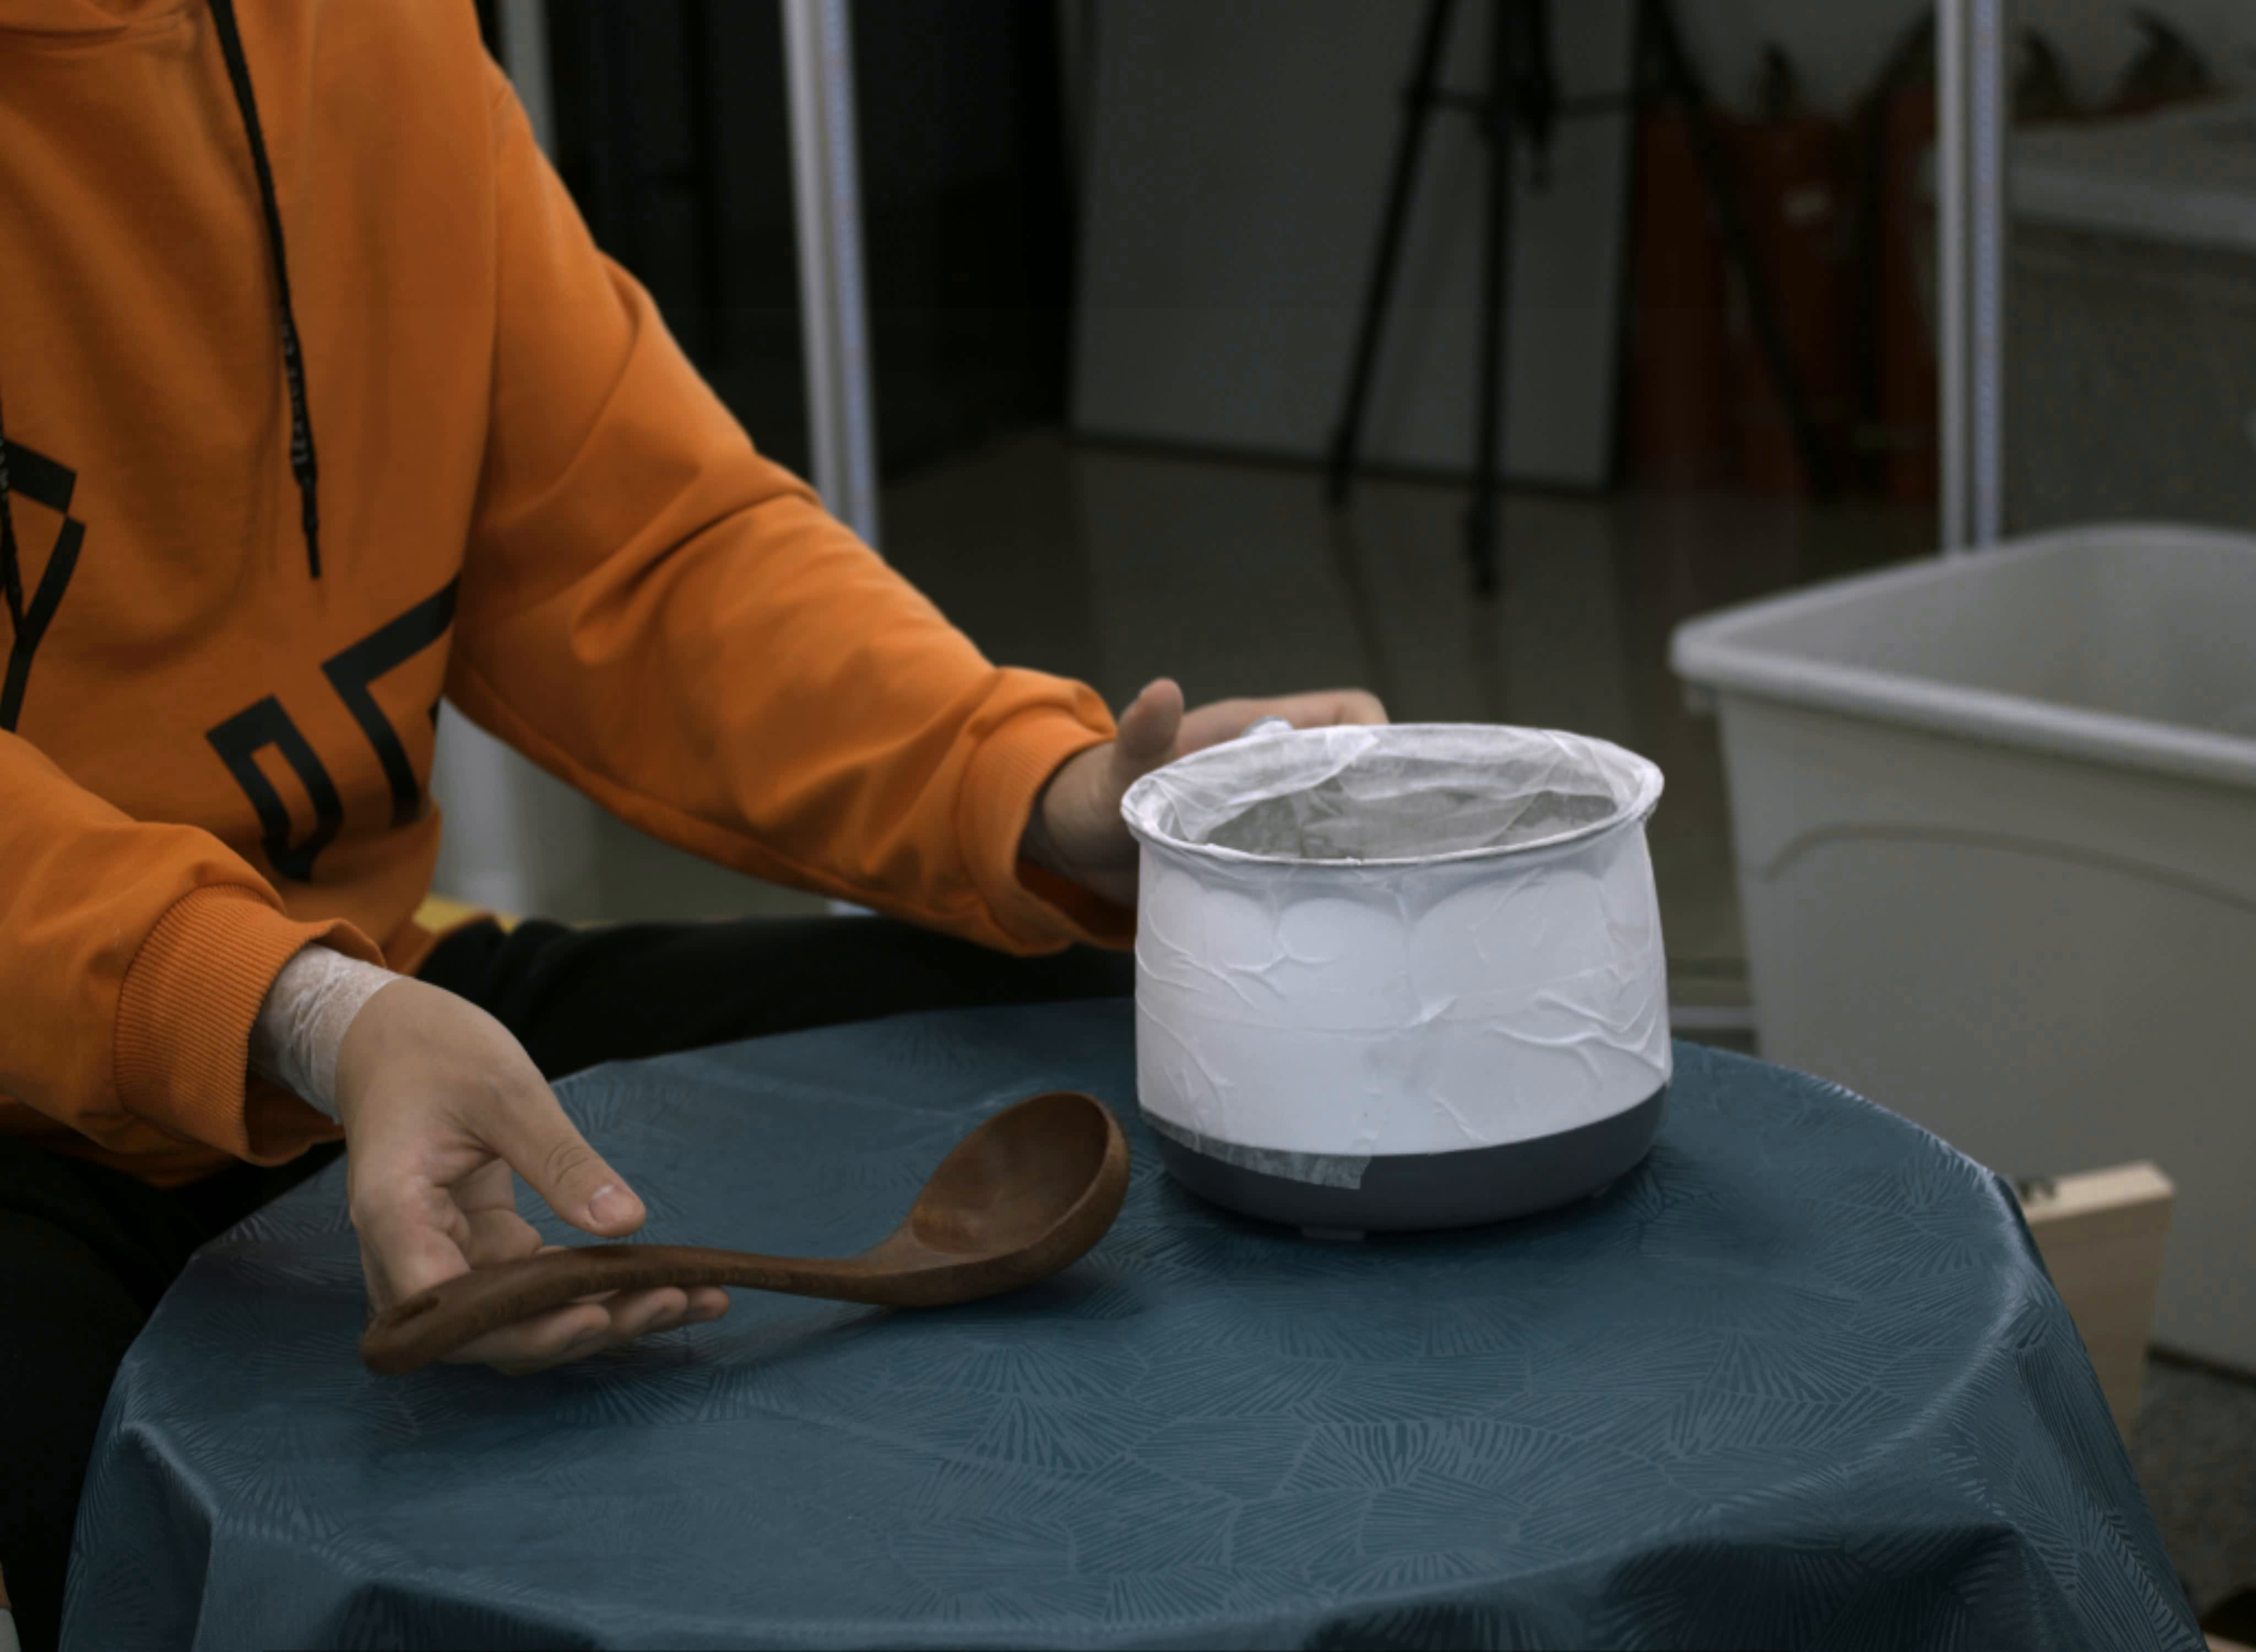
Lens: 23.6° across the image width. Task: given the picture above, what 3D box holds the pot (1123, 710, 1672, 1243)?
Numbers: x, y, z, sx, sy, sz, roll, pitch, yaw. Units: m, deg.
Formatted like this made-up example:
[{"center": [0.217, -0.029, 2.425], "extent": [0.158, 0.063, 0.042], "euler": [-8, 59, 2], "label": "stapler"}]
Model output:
[{"center": [0.077, 0.043, 1.776], "extent": [0.175, 0.138, 0.236], "euler": [-9, 15, -21], "label": "pot"}]

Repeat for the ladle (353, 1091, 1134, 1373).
[{"center": [-0.114, 0.121, 1.634], "extent": [0.254, 0.066, 0.077], "euler": [-3, 8, -30], "label": "ladle"}]
